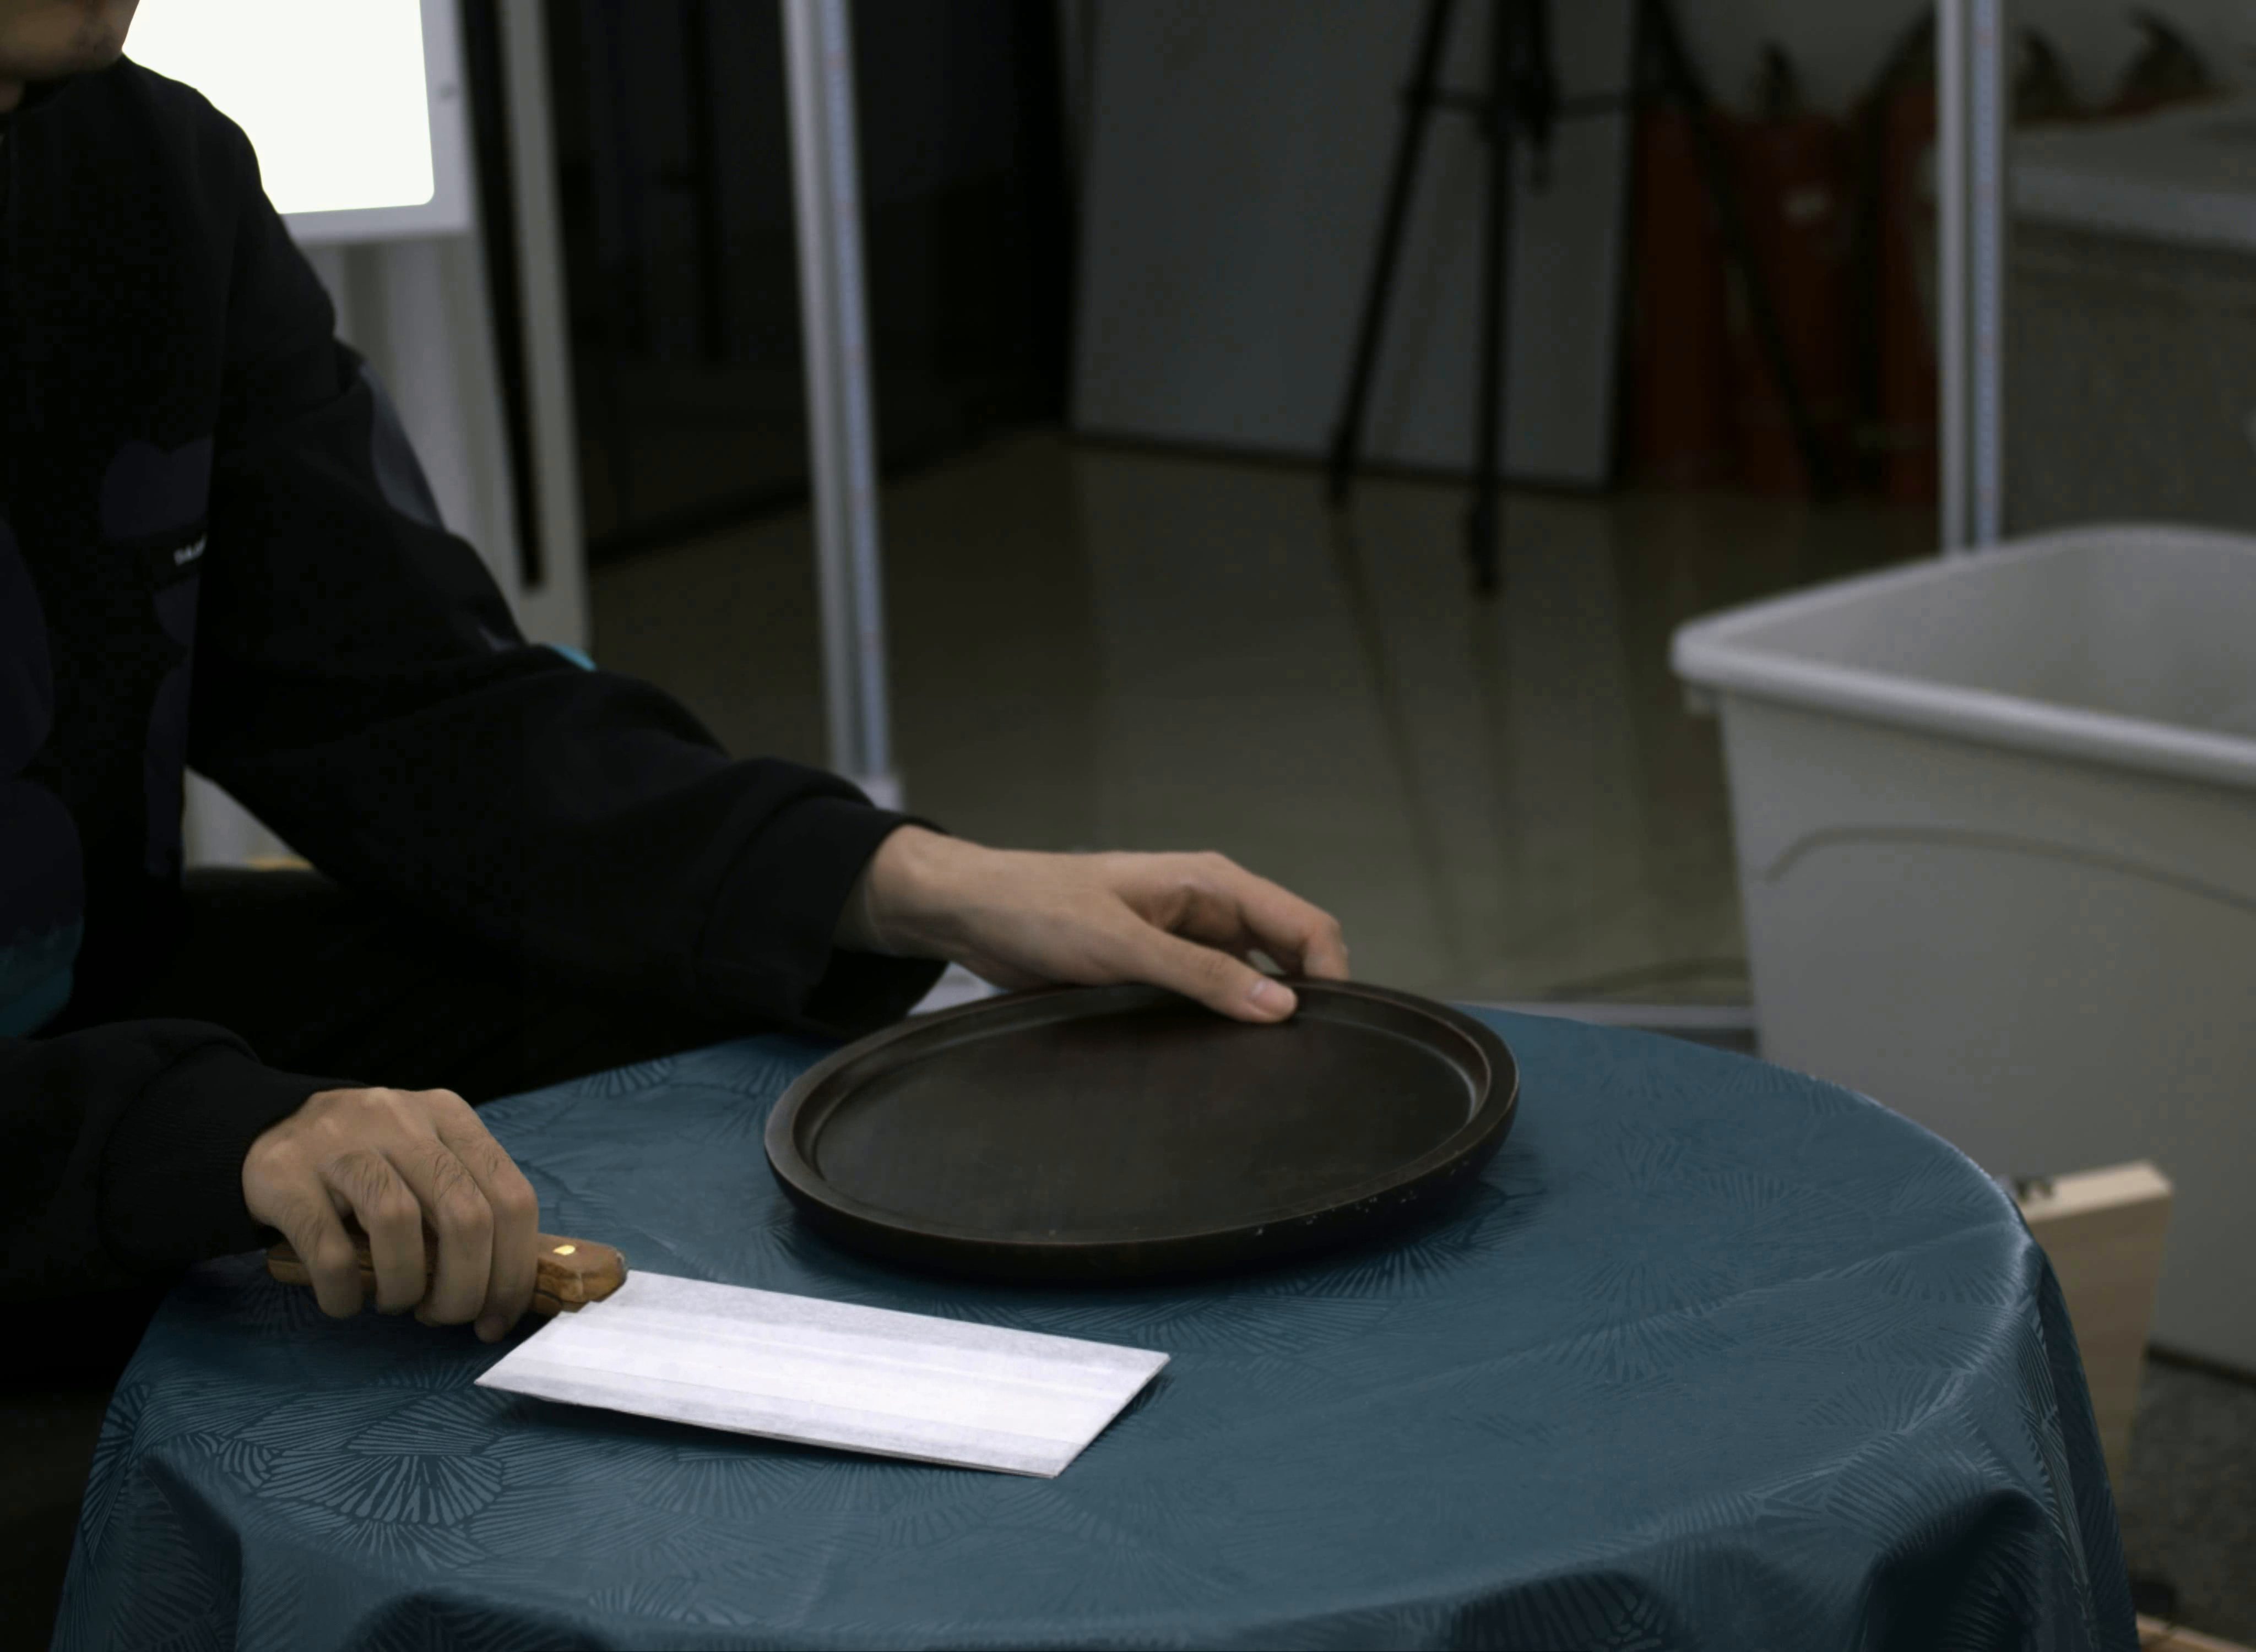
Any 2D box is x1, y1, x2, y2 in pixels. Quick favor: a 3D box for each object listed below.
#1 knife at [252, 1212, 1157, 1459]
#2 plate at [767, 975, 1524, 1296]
[{"bbox_3d":[-0.141,0.155,1.621,0.306,0.021,0.092,6,20,24],"label":"knife"},{"bbox_3d":[0.006,0.099,1.778,0.251,0.029,0.255,-6,19,1],"label":"plate"}]
